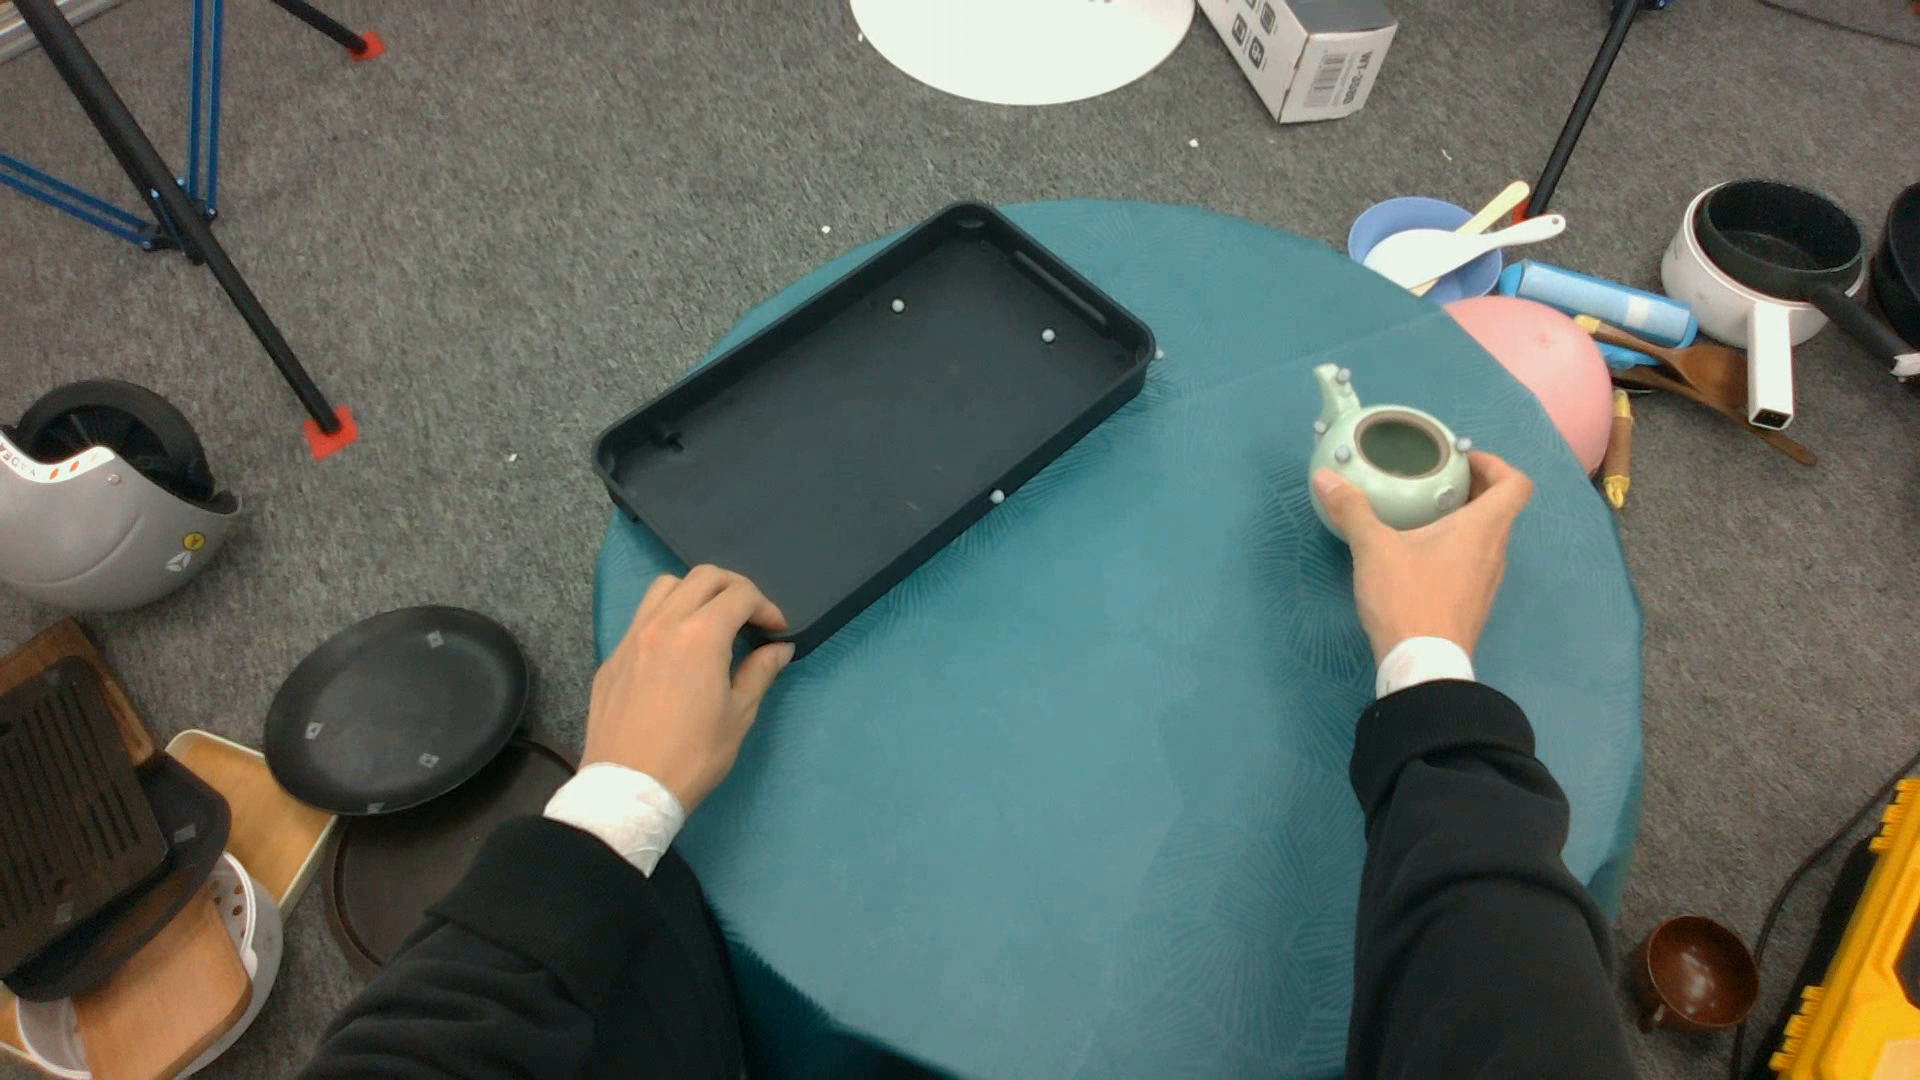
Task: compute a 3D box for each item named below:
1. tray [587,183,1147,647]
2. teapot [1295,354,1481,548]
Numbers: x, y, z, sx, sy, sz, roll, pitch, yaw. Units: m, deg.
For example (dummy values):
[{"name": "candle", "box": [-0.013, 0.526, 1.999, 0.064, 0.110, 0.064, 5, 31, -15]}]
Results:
[{"name": "tray", "box": [-0.050, -0.088, 0.841, 0.184, 0.037, 0.319, 40, 65, 21]}, {"name": "teapot", "box": [0.237, -0.042, 0.791, 0.088, 0.074, 0.144, -24, 52, -19]}]
